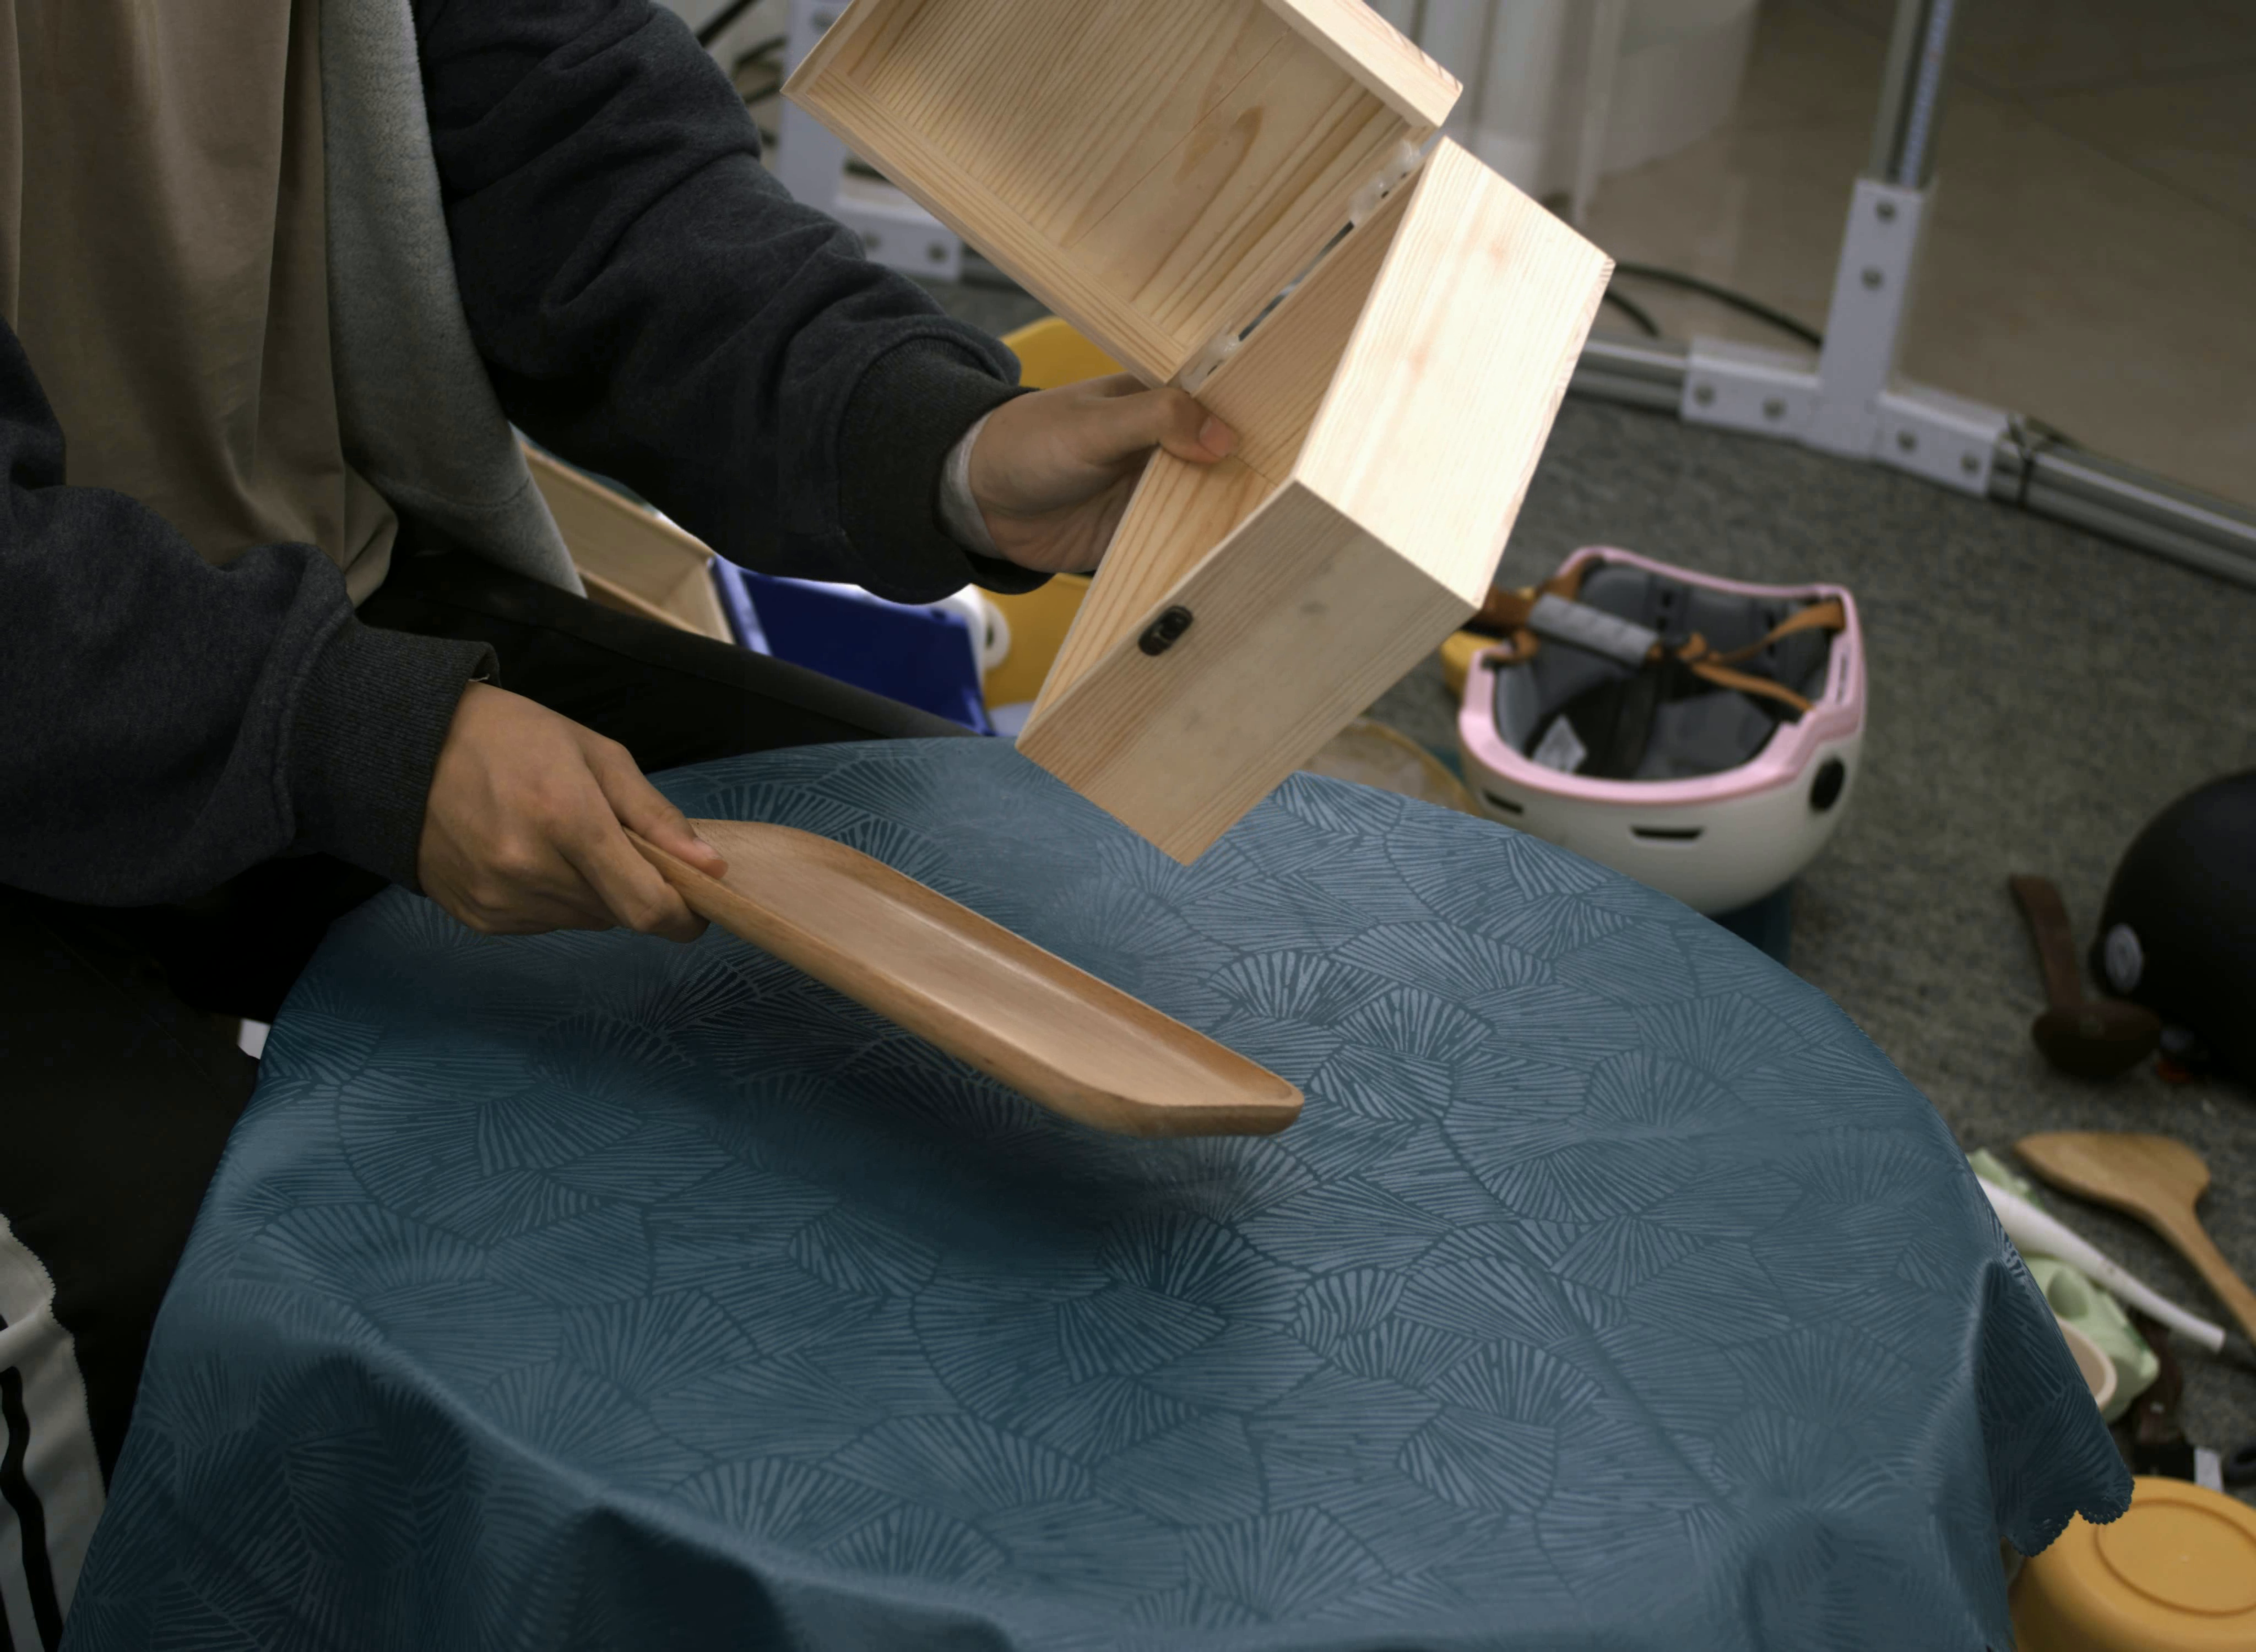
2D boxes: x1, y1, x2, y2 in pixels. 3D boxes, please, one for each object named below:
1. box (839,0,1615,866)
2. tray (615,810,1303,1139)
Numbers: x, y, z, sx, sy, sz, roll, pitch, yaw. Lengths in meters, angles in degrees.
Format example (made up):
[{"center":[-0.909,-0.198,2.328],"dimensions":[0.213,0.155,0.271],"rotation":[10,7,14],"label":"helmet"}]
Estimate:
[{"center":[0.005,-0.181,1.818],"dimensions":[0.252,0.181,0.266],"rotation":[33,47,-9],"label":"box"},{"center":[-0.061,0.051,1.826],"dimensions":[0.252,0.023,0.129],"rotation":[27,10,35],"label":"tray"}]
